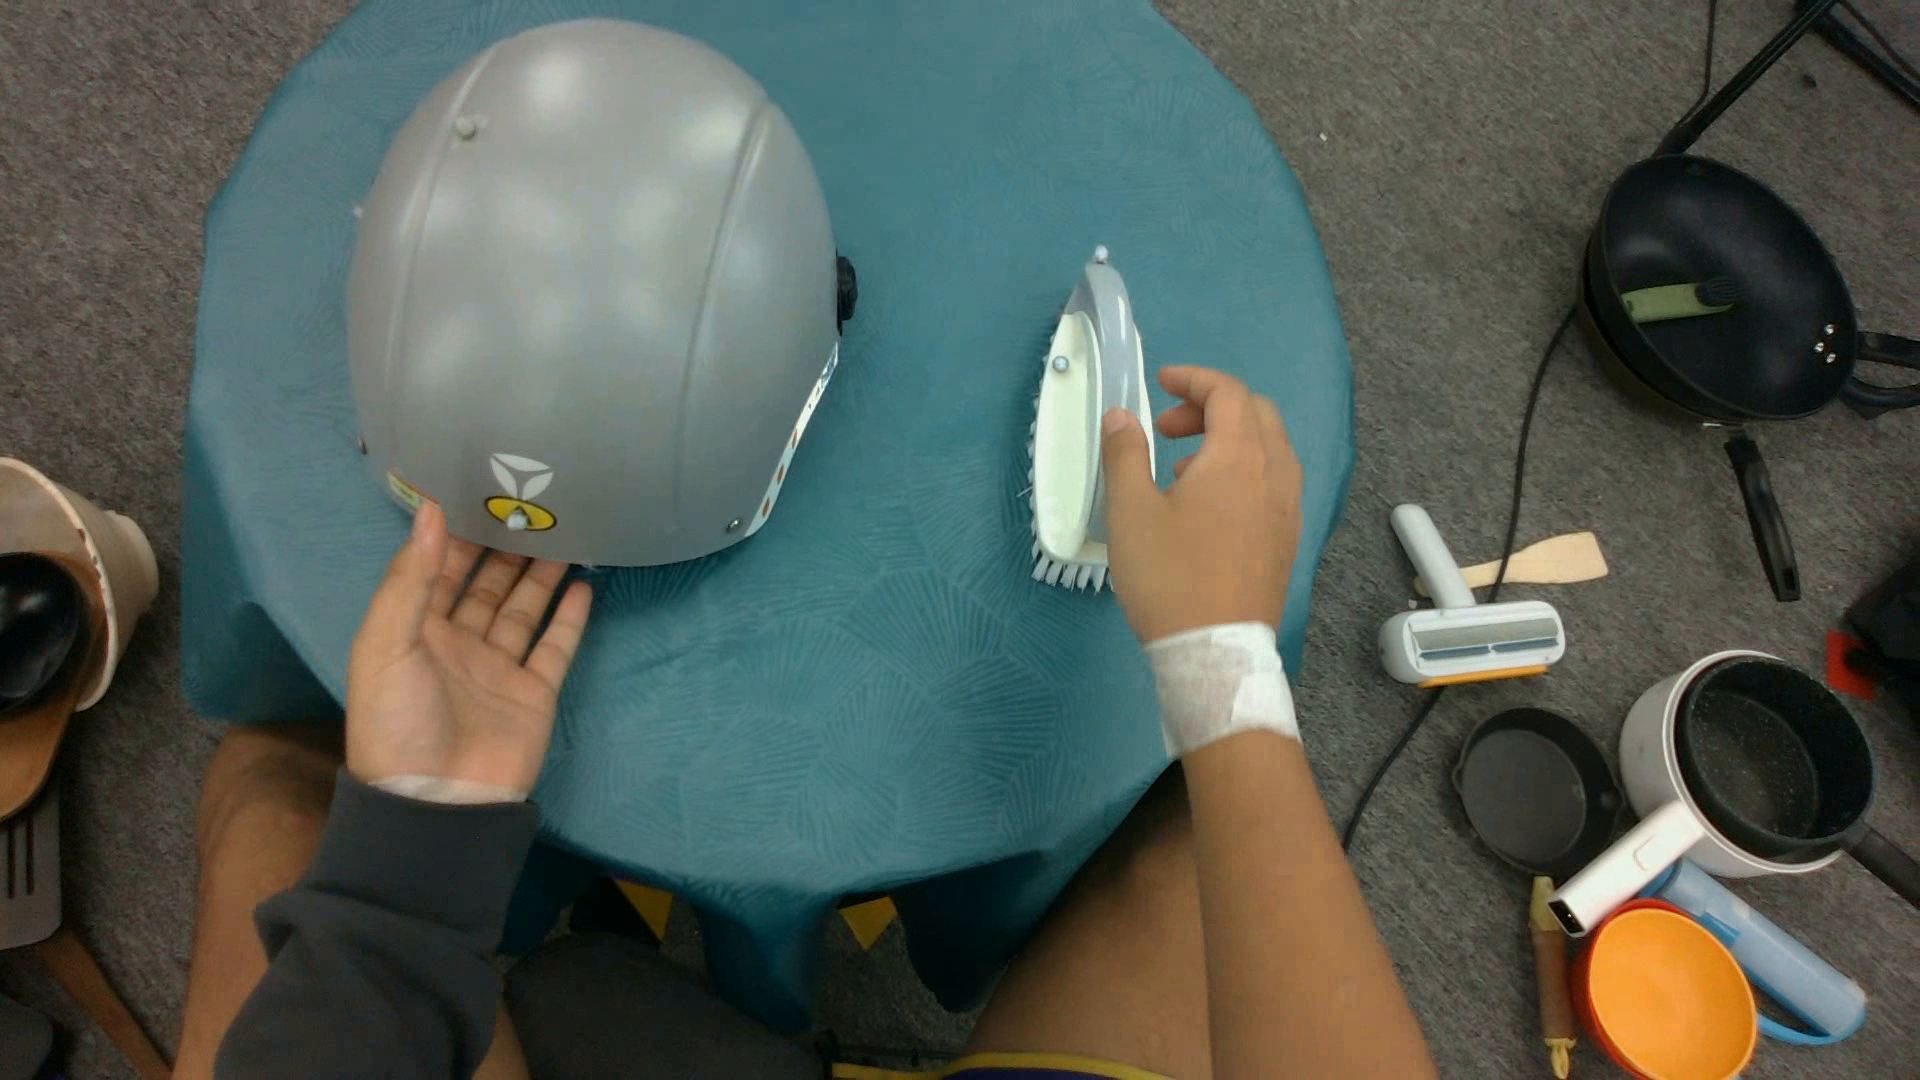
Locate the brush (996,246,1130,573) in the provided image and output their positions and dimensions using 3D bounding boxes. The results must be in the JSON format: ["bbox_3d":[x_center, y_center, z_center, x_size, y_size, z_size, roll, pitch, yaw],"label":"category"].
[{"bbox_3d":[0.056,-0.079,0.688,0.061,0.094,0.176,6,67,-12],"label":"brush"}]

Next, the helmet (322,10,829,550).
[{"bbox_3d":[-0.173,-0.139,0.627,0.232,0.168,0.277,12,65,-9],"label":"helmet"}]
